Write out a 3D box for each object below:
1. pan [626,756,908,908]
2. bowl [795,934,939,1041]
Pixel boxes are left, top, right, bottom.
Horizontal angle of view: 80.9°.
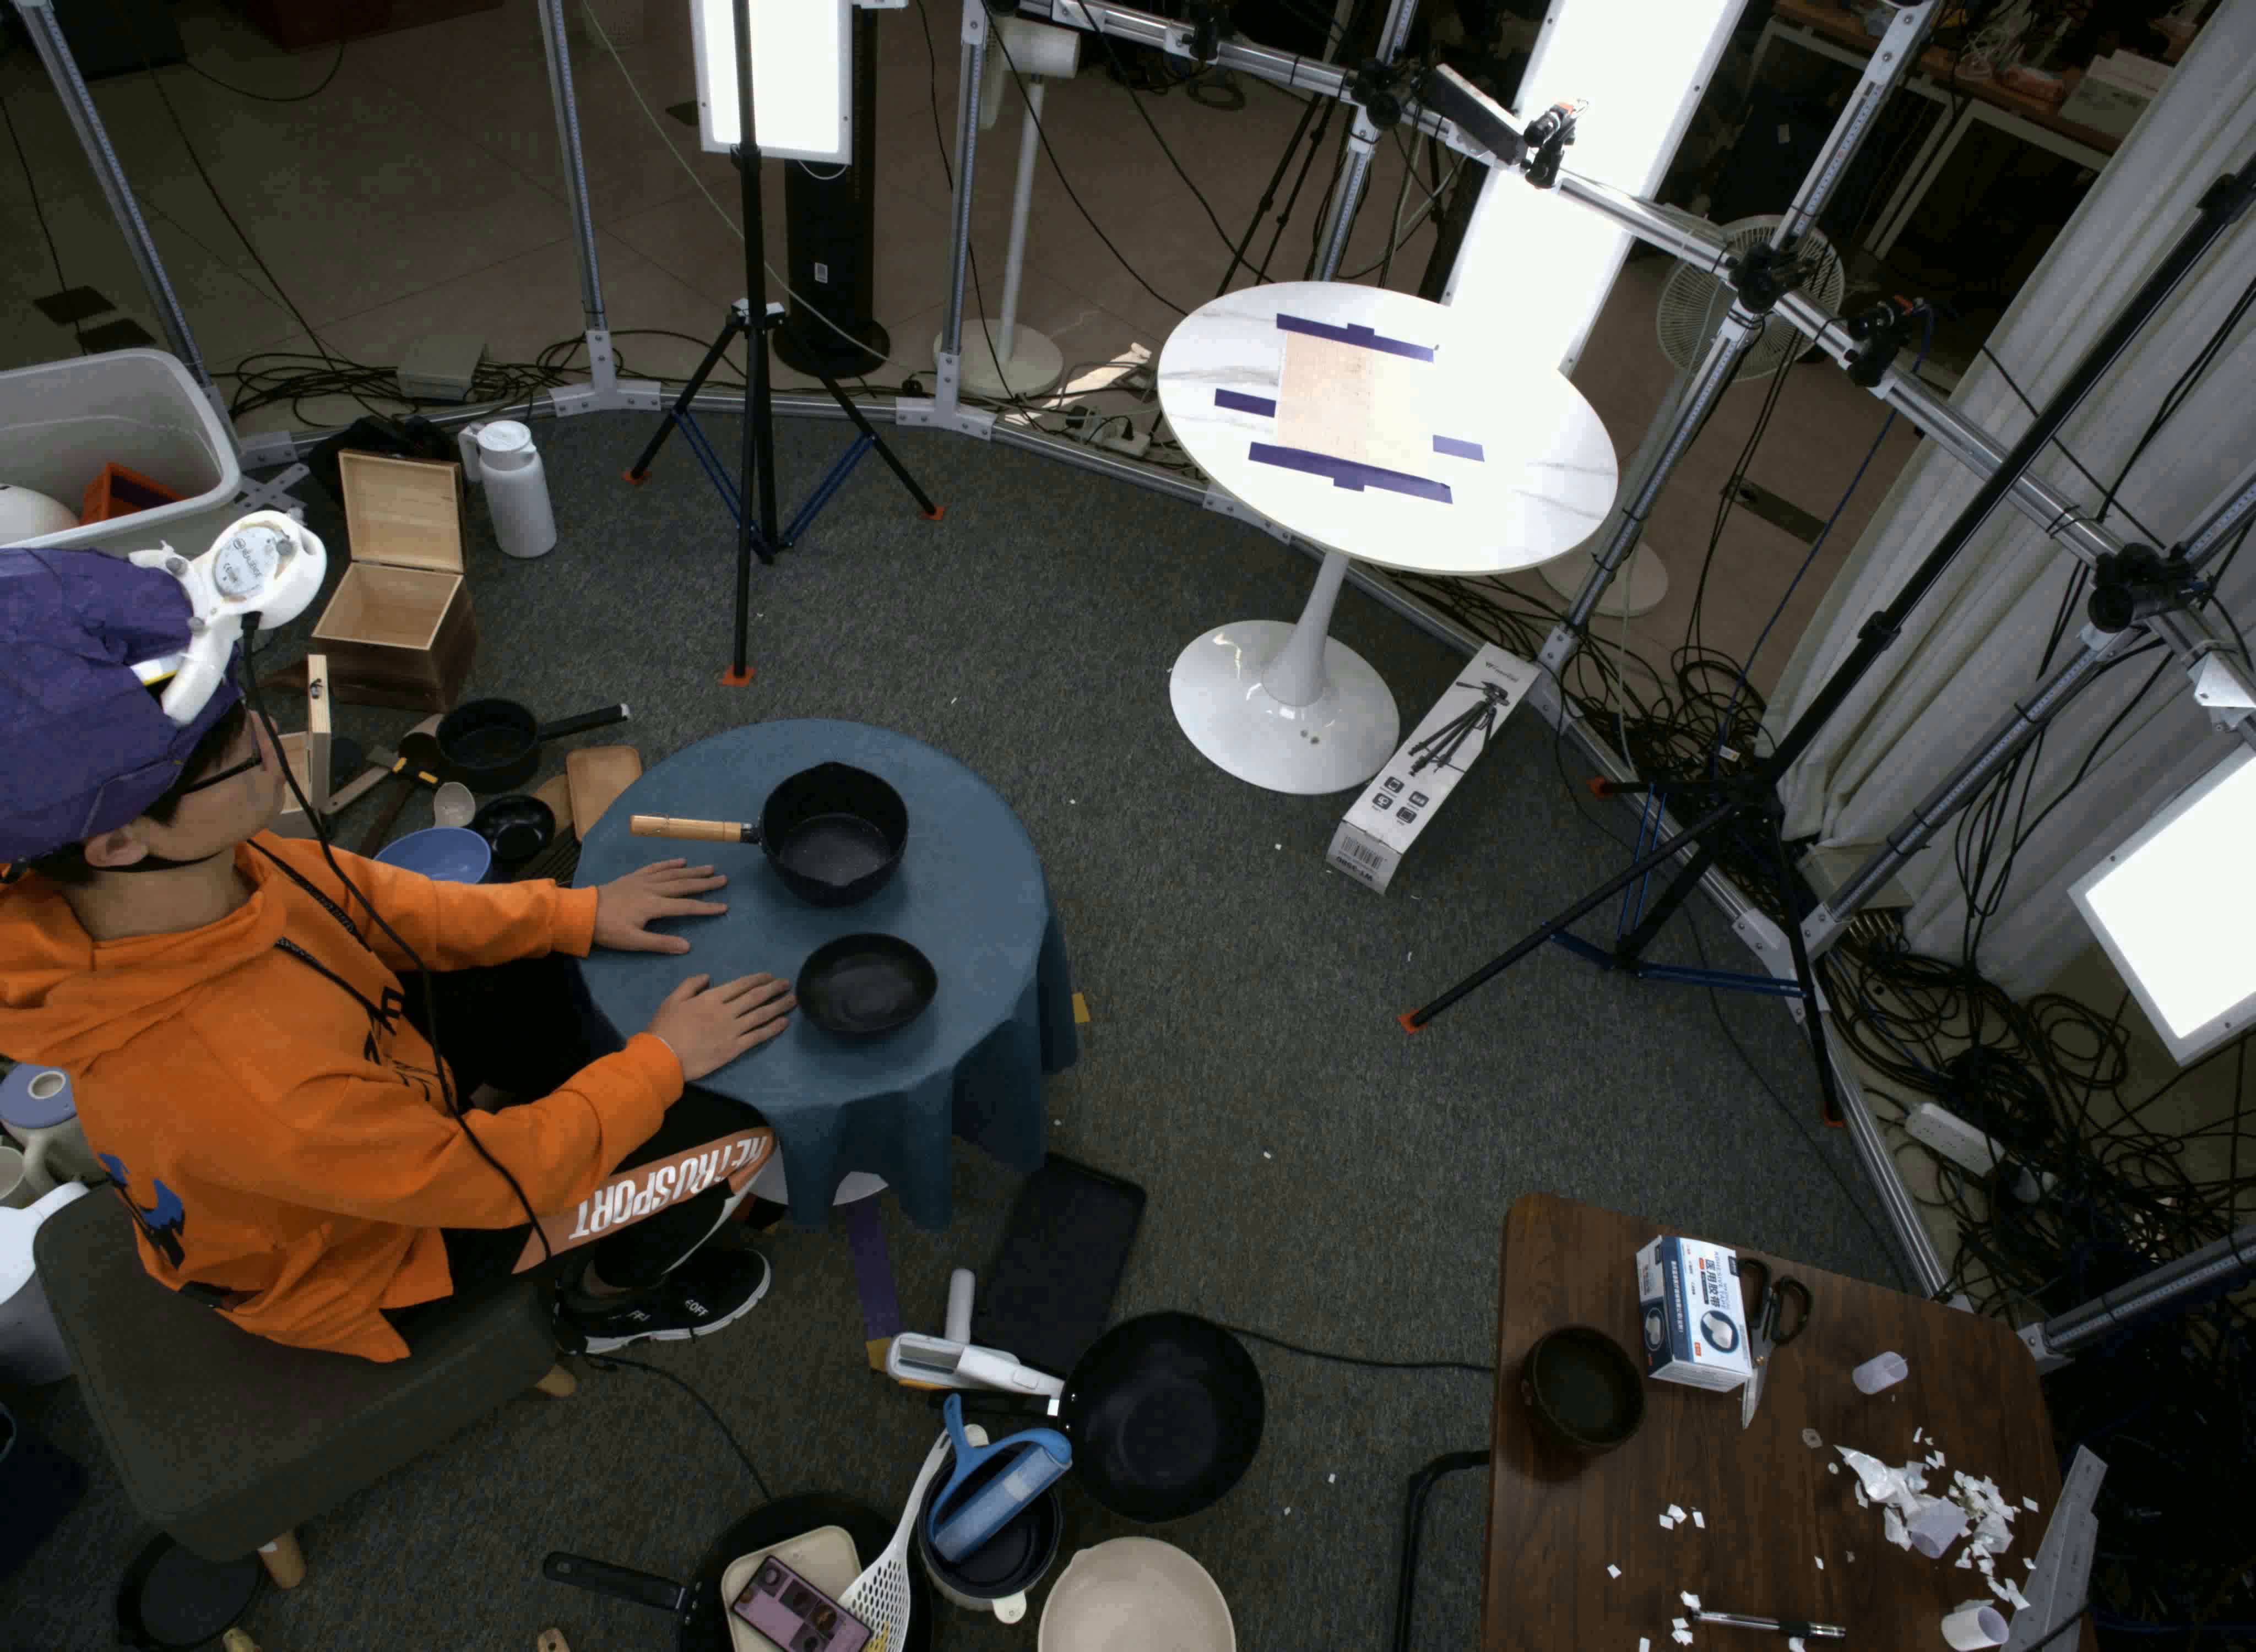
[{"bbox_3d":[-0.450,0.015,1.626,0.344,0.110,0.203,-3,56,-19],"label":"pan"},{"bbox_3d":[-0.313,0.200,1.553,0.171,0.068,0.134,-9,57,-23],"label":"bowl"}]
